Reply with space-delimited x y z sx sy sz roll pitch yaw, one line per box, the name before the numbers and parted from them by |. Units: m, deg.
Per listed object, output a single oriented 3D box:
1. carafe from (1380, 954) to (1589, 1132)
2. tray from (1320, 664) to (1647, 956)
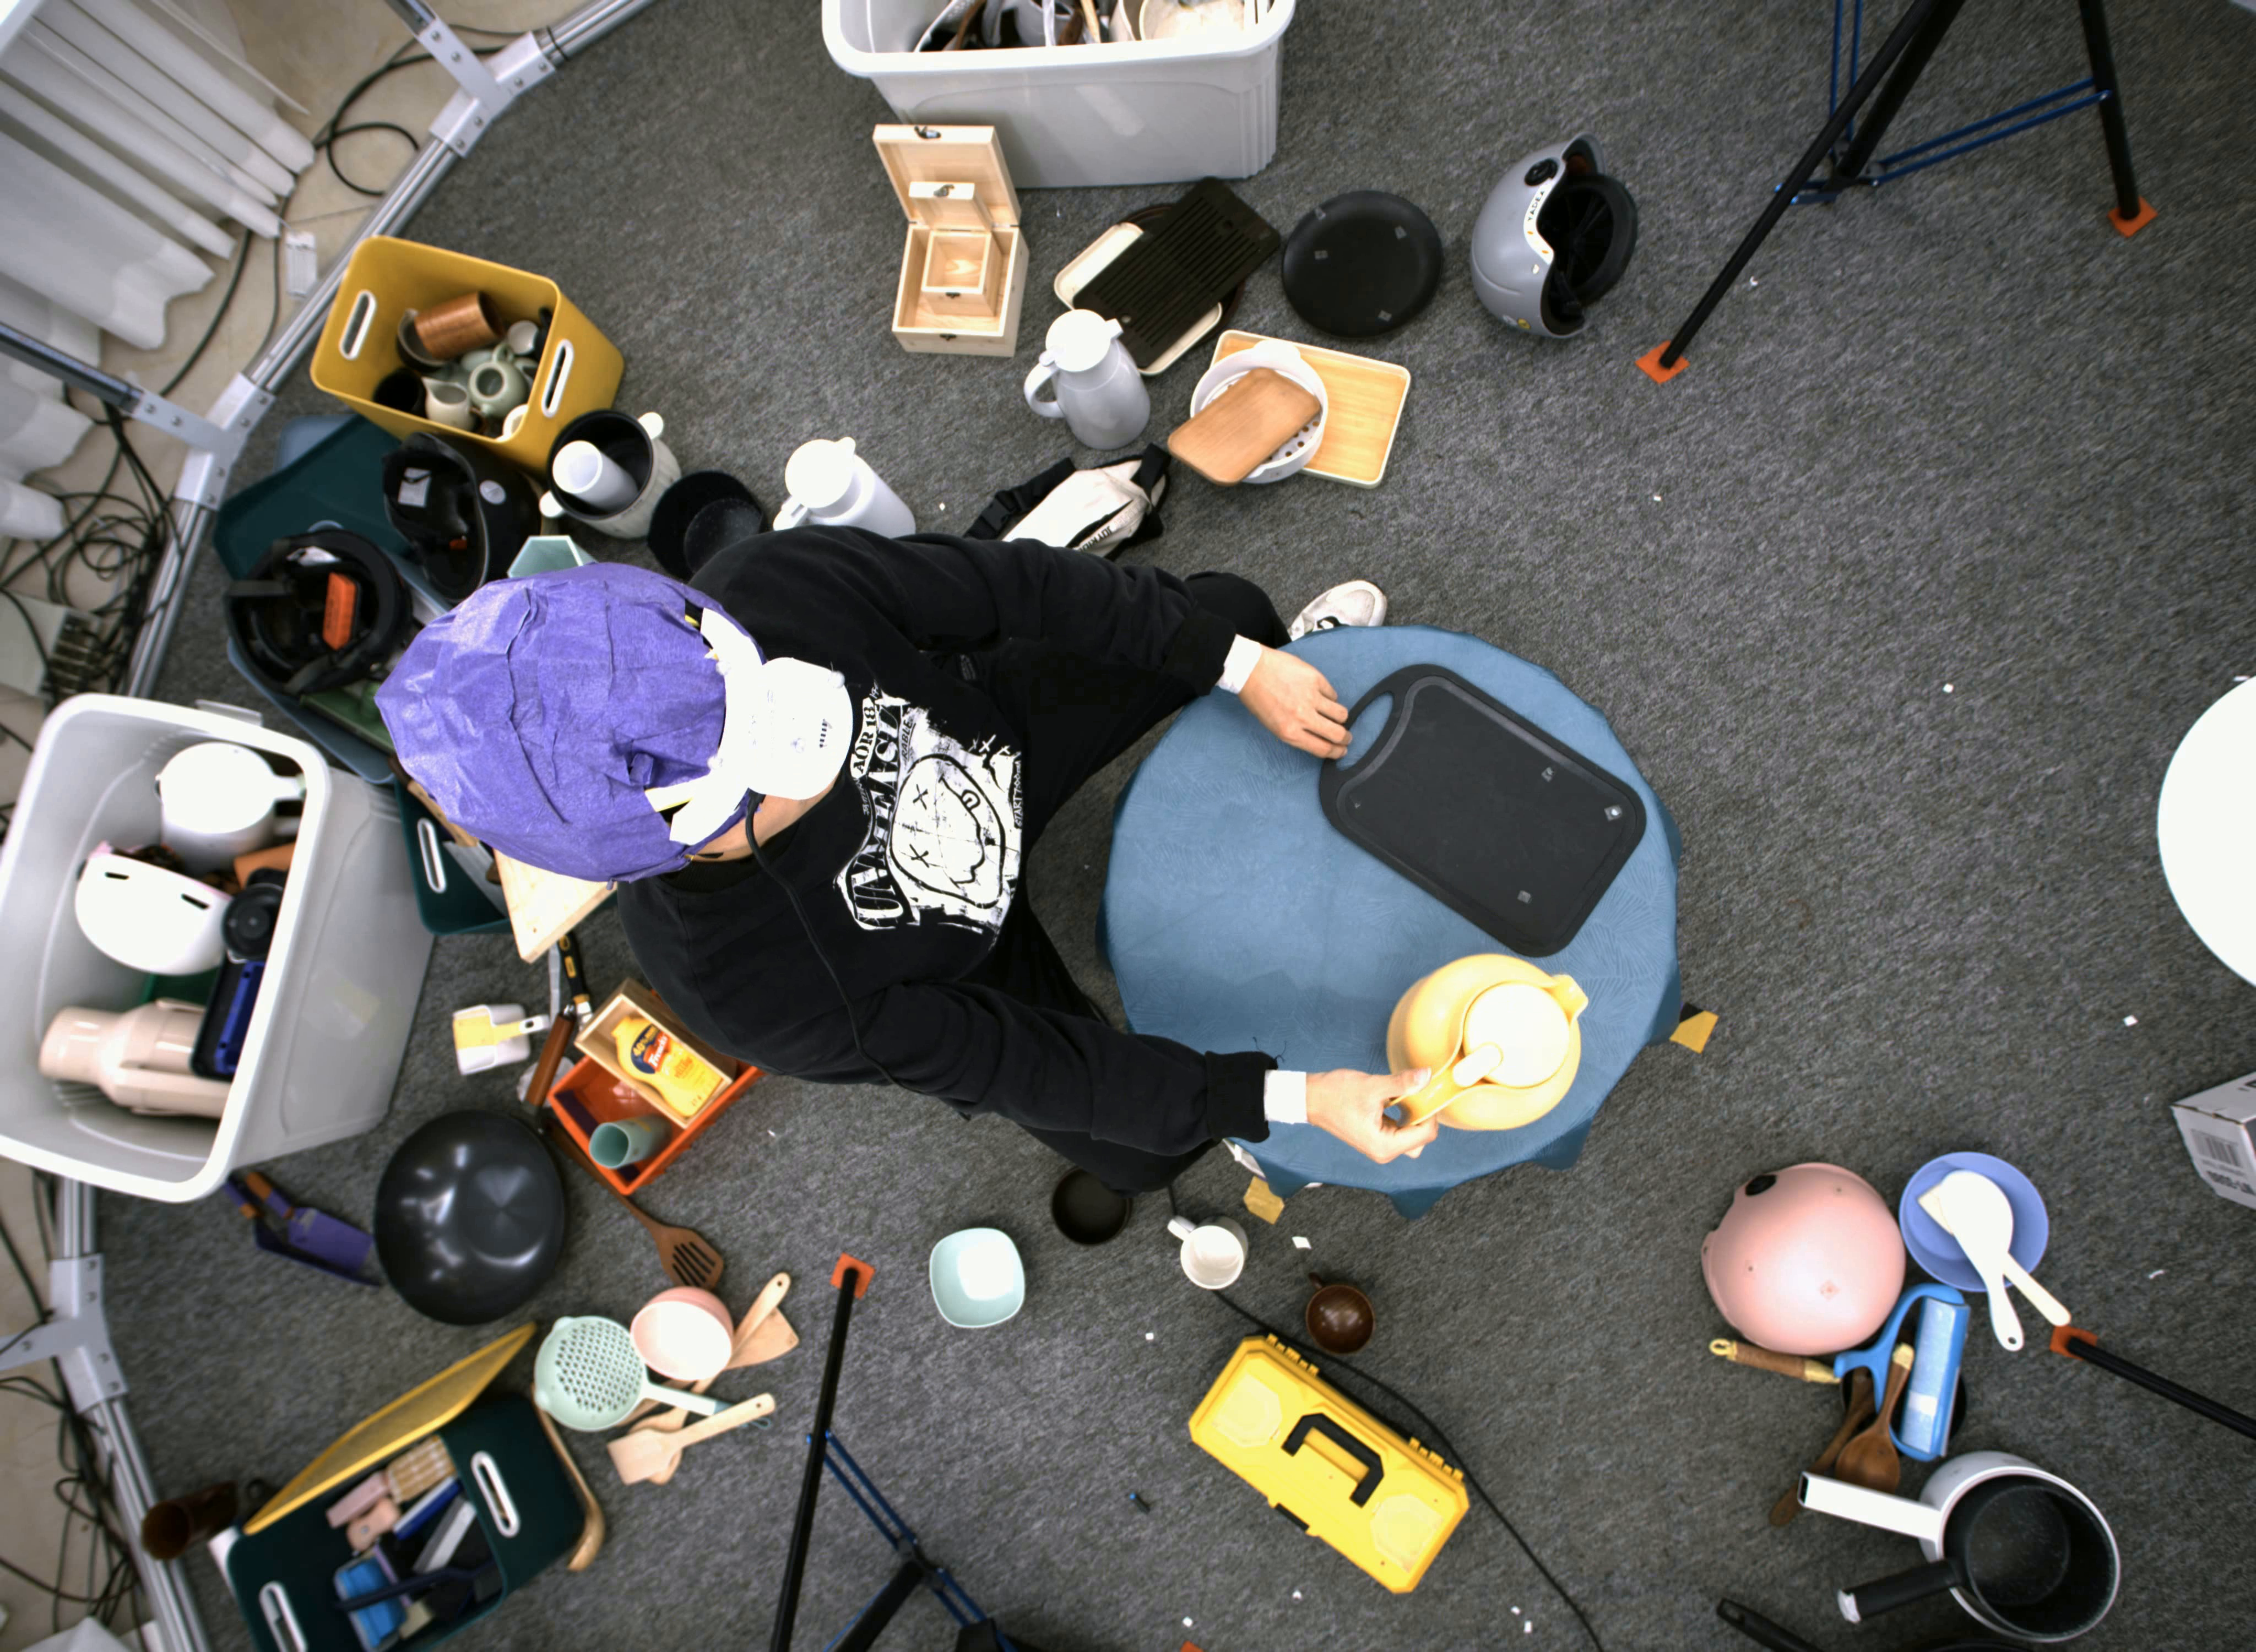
carafe | 0.319 0.209 1.285 0.202 0.263 0.162 -34 77 -5
tray | 0.363 -0.025 1.440 0.324 0.010 0.211 35 93 8
